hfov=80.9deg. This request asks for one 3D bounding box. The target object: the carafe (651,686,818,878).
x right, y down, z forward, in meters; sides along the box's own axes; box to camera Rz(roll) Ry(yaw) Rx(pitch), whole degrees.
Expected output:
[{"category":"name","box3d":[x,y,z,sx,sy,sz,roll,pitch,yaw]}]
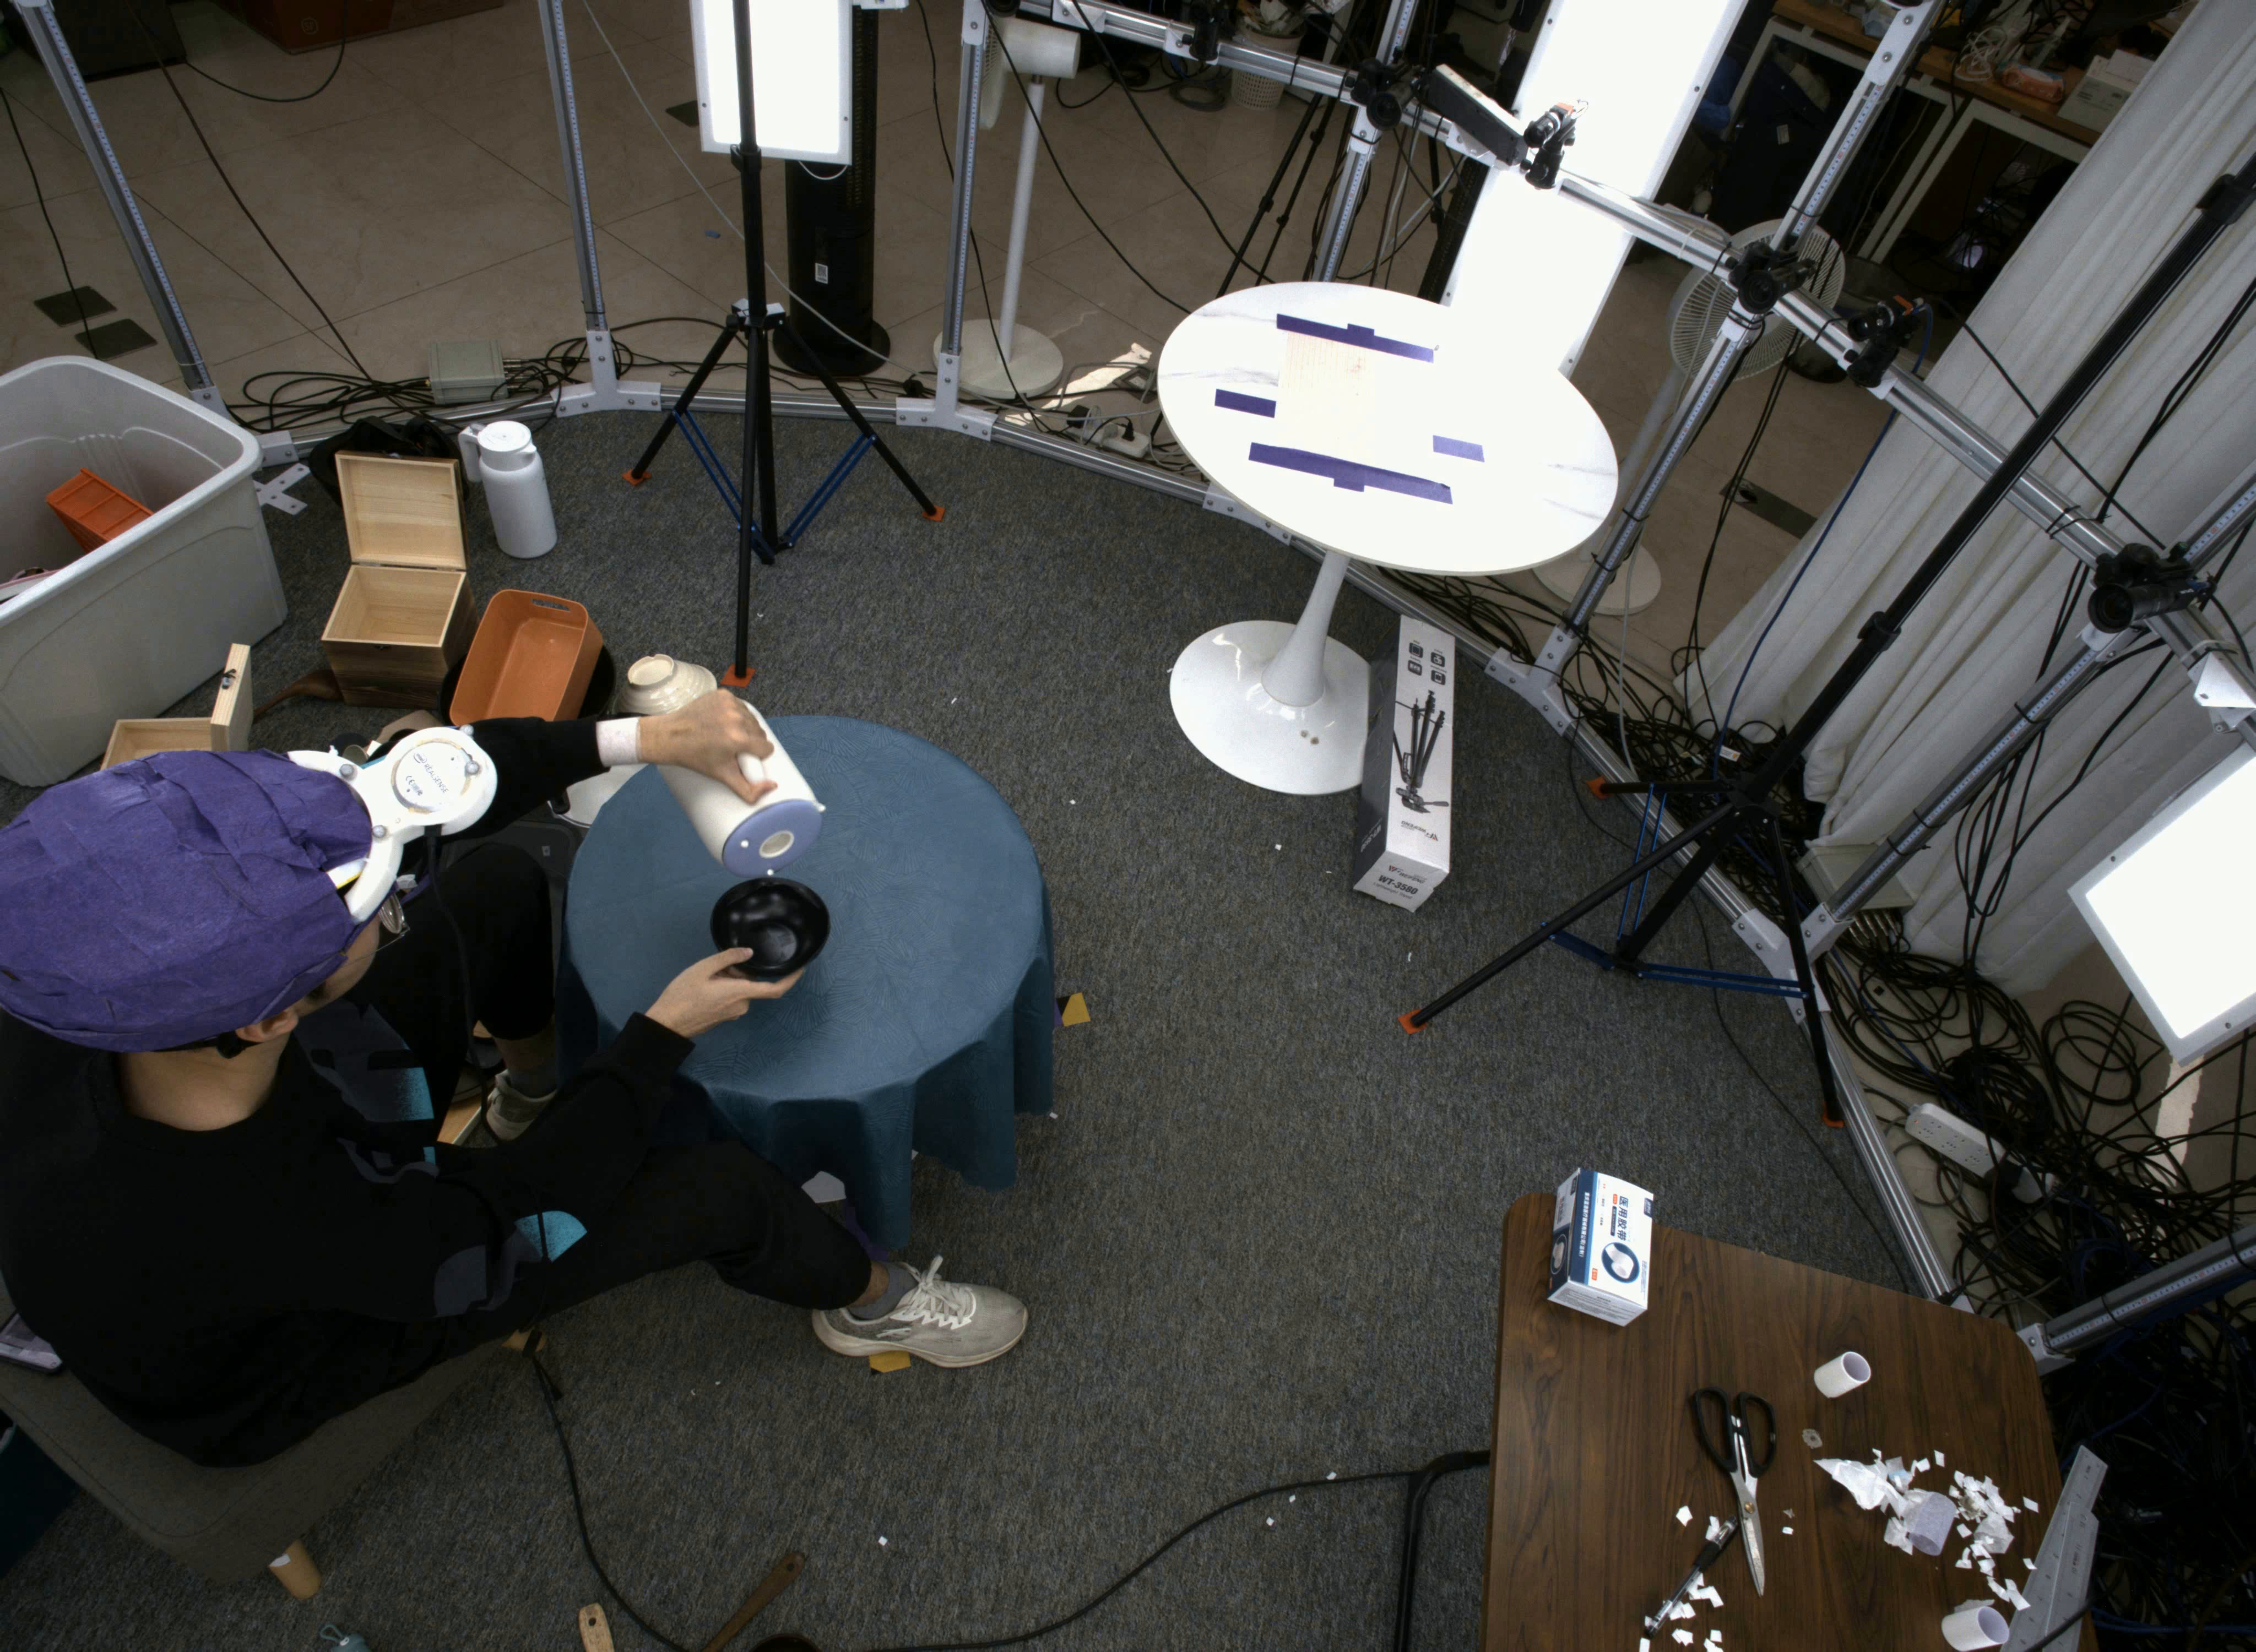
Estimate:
[{"category":"carafe","box3d":[-0.436,-0.061,1.419,0.132,0.195,0.178,-30,66,-24]}]

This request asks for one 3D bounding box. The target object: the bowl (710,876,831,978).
[{"category":"bowl","box3d":[-0.423,0.126,1.533,0.140,0.051,0.137,9,48,-9]}]
